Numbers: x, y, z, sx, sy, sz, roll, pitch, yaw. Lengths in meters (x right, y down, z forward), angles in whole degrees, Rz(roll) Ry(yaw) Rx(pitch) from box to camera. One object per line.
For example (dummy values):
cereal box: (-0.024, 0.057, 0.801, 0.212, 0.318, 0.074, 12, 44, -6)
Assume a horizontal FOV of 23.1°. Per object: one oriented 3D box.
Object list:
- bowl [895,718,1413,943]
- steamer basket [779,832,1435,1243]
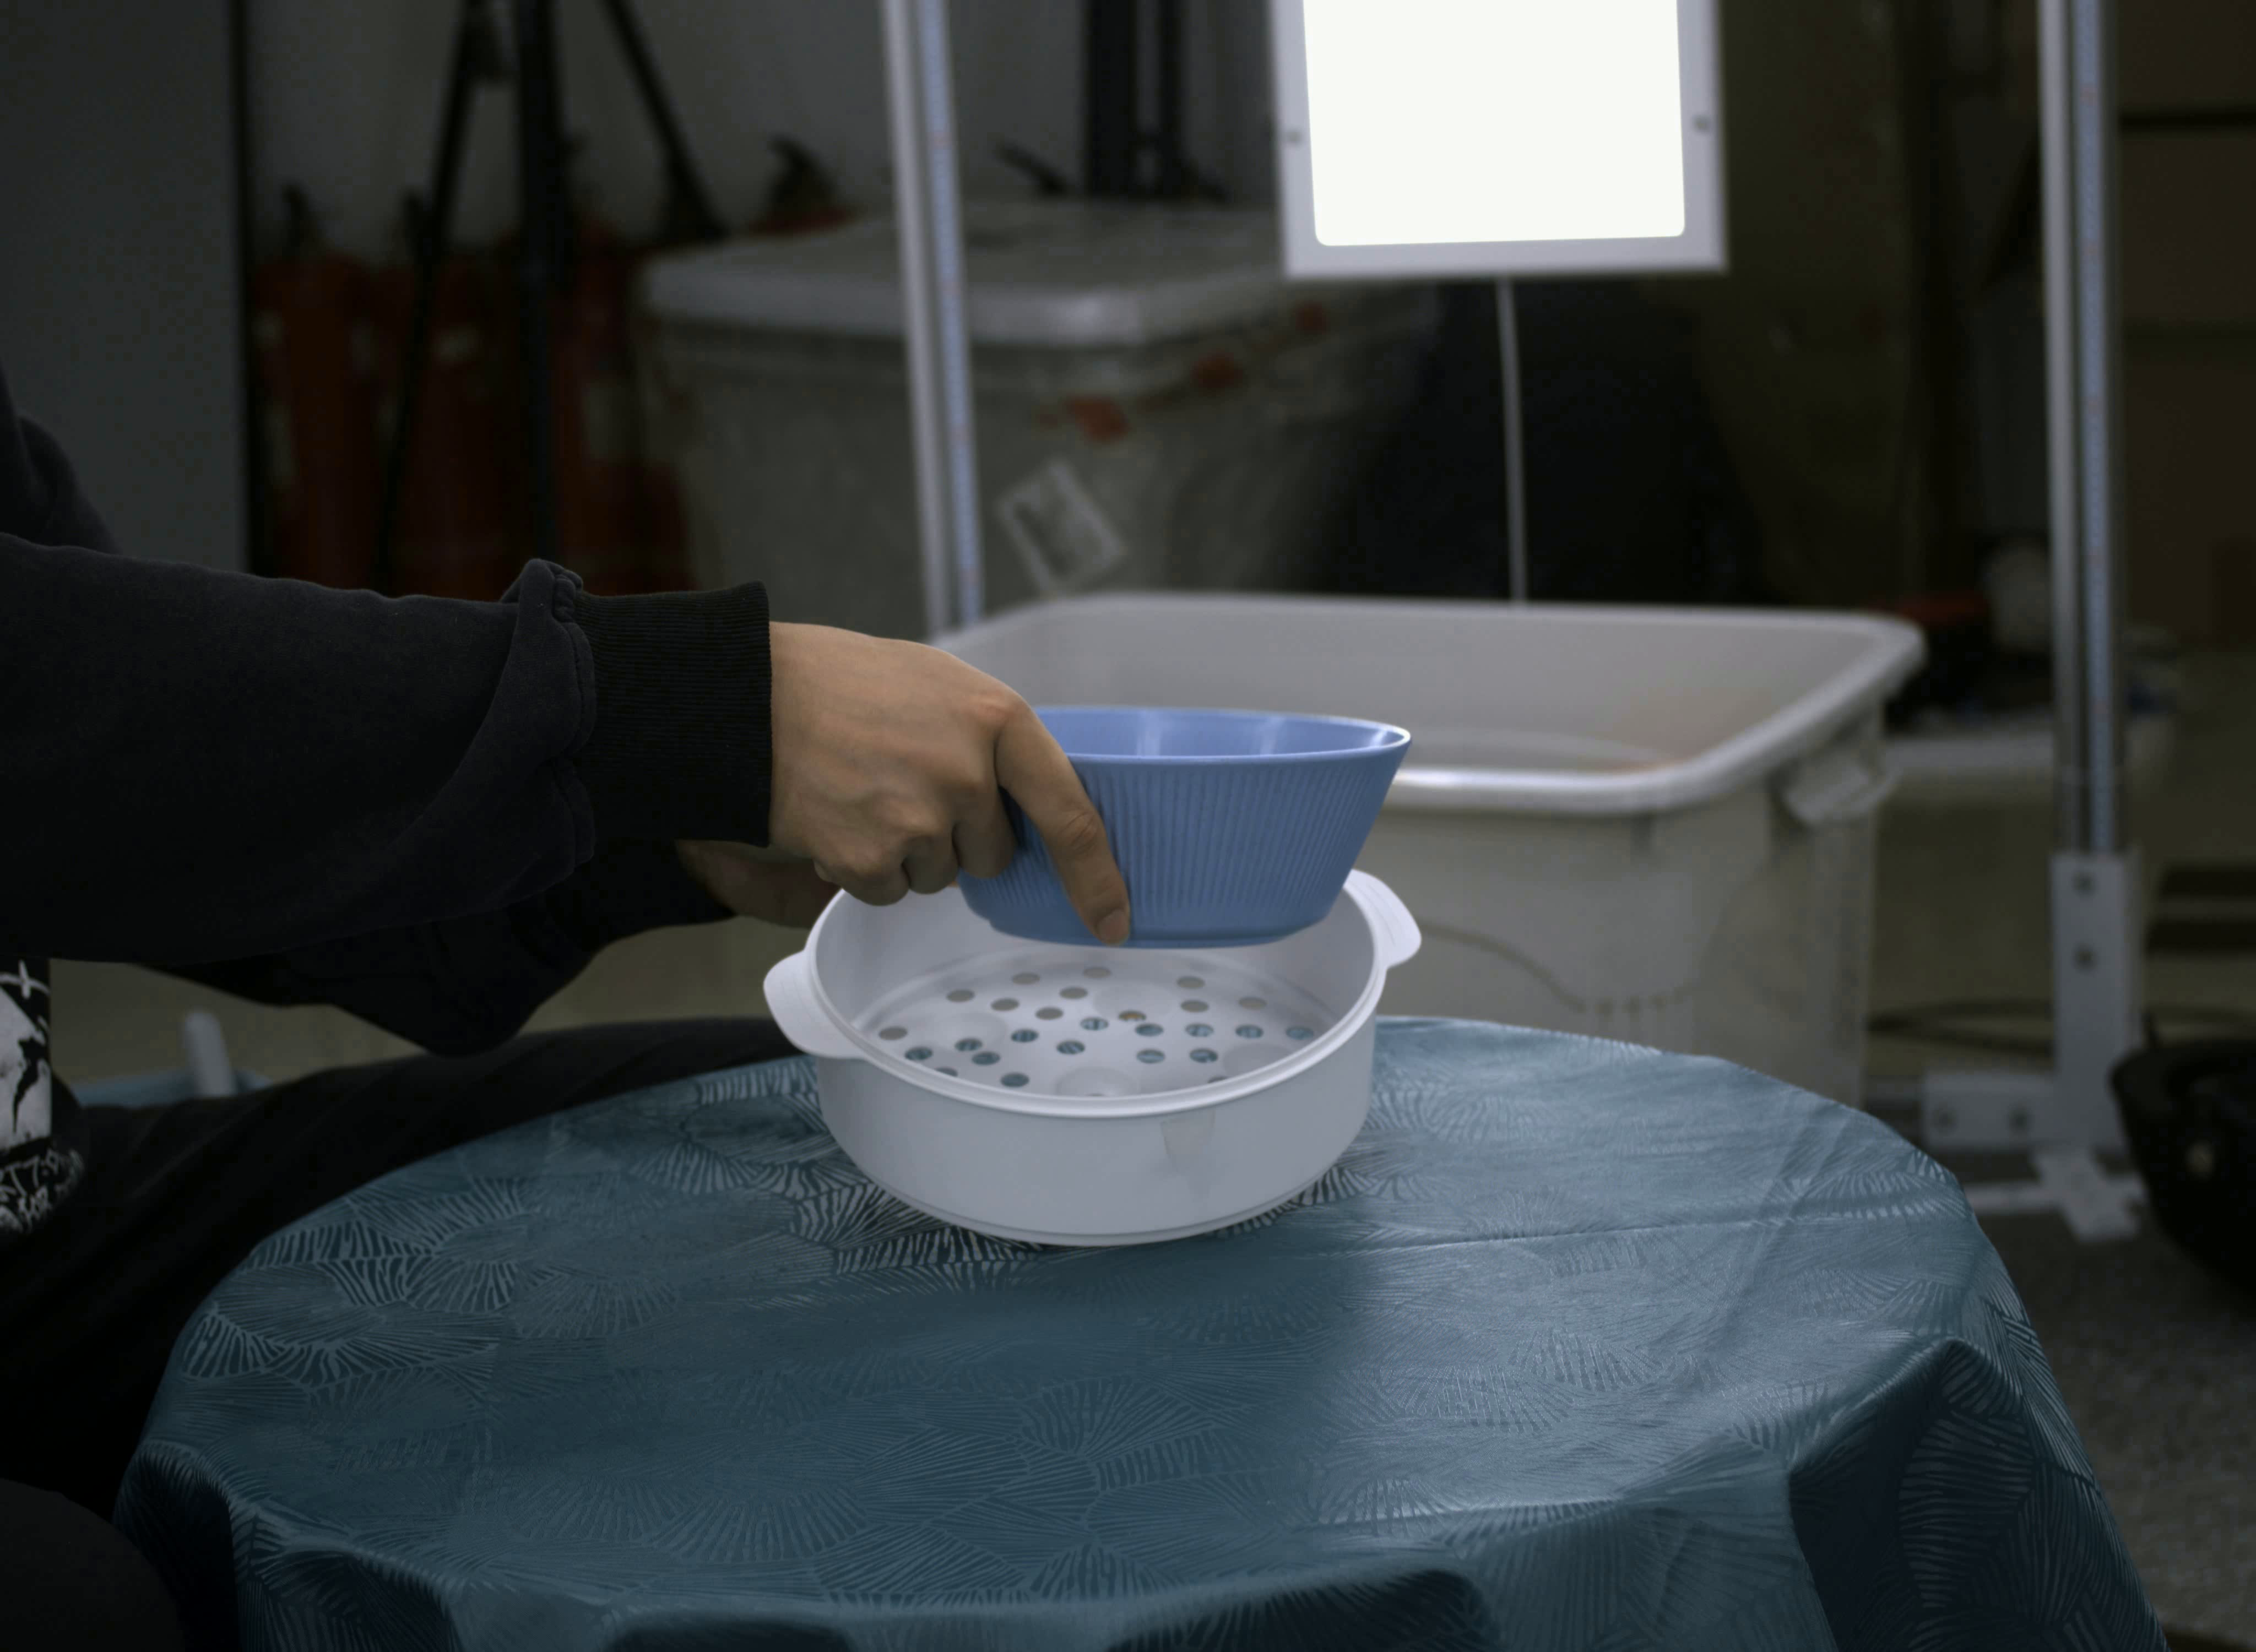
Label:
bowl: (0.009, 0.000, 1.853, 0.175, 0.070, 0.176, 0, 4, -1)
steamer basket: (-0.007, 0.069, 1.908, 0.227, 0.069, 0.203, -8, 30, -15)
